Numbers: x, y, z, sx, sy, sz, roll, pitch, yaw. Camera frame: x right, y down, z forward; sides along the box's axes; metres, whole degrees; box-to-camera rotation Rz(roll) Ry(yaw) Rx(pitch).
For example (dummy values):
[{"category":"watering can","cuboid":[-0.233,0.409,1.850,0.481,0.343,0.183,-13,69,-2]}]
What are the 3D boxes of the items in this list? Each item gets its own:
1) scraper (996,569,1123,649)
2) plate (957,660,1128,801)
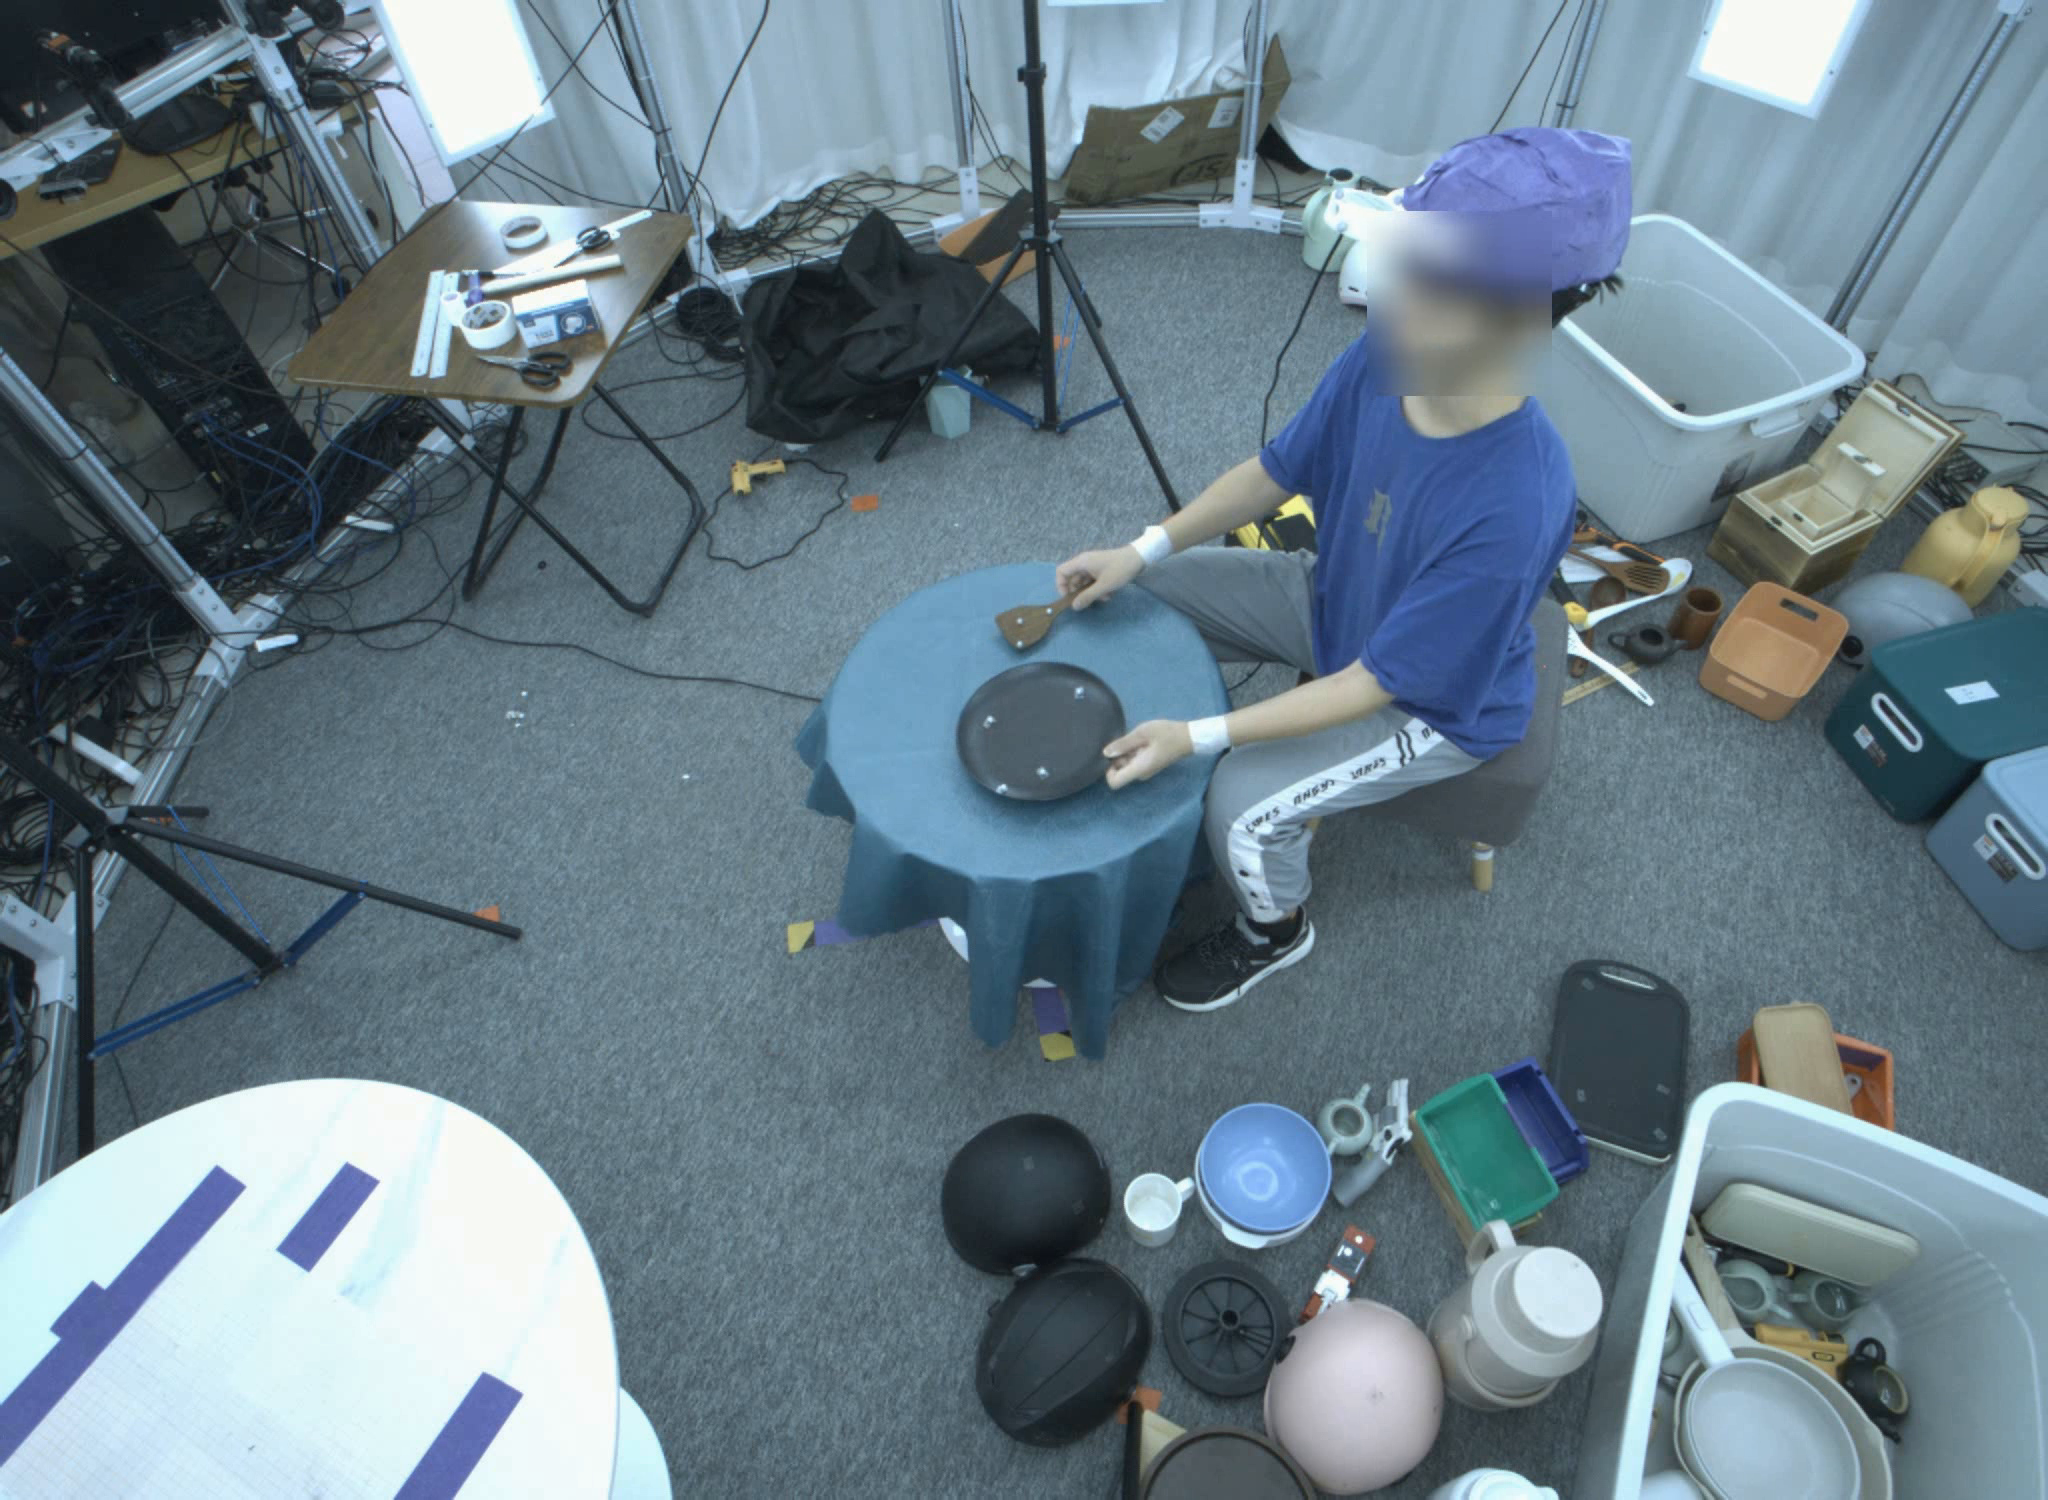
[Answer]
[{"category":"scraper","cuboid":[0.060,-0.227,1.904,0.212,0.011,0.075,-29,71,-13]},{"category":"plate","cuboid":[0.026,-0.026,1.743,0.243,0.024,0.242,-3,56,6]}]
